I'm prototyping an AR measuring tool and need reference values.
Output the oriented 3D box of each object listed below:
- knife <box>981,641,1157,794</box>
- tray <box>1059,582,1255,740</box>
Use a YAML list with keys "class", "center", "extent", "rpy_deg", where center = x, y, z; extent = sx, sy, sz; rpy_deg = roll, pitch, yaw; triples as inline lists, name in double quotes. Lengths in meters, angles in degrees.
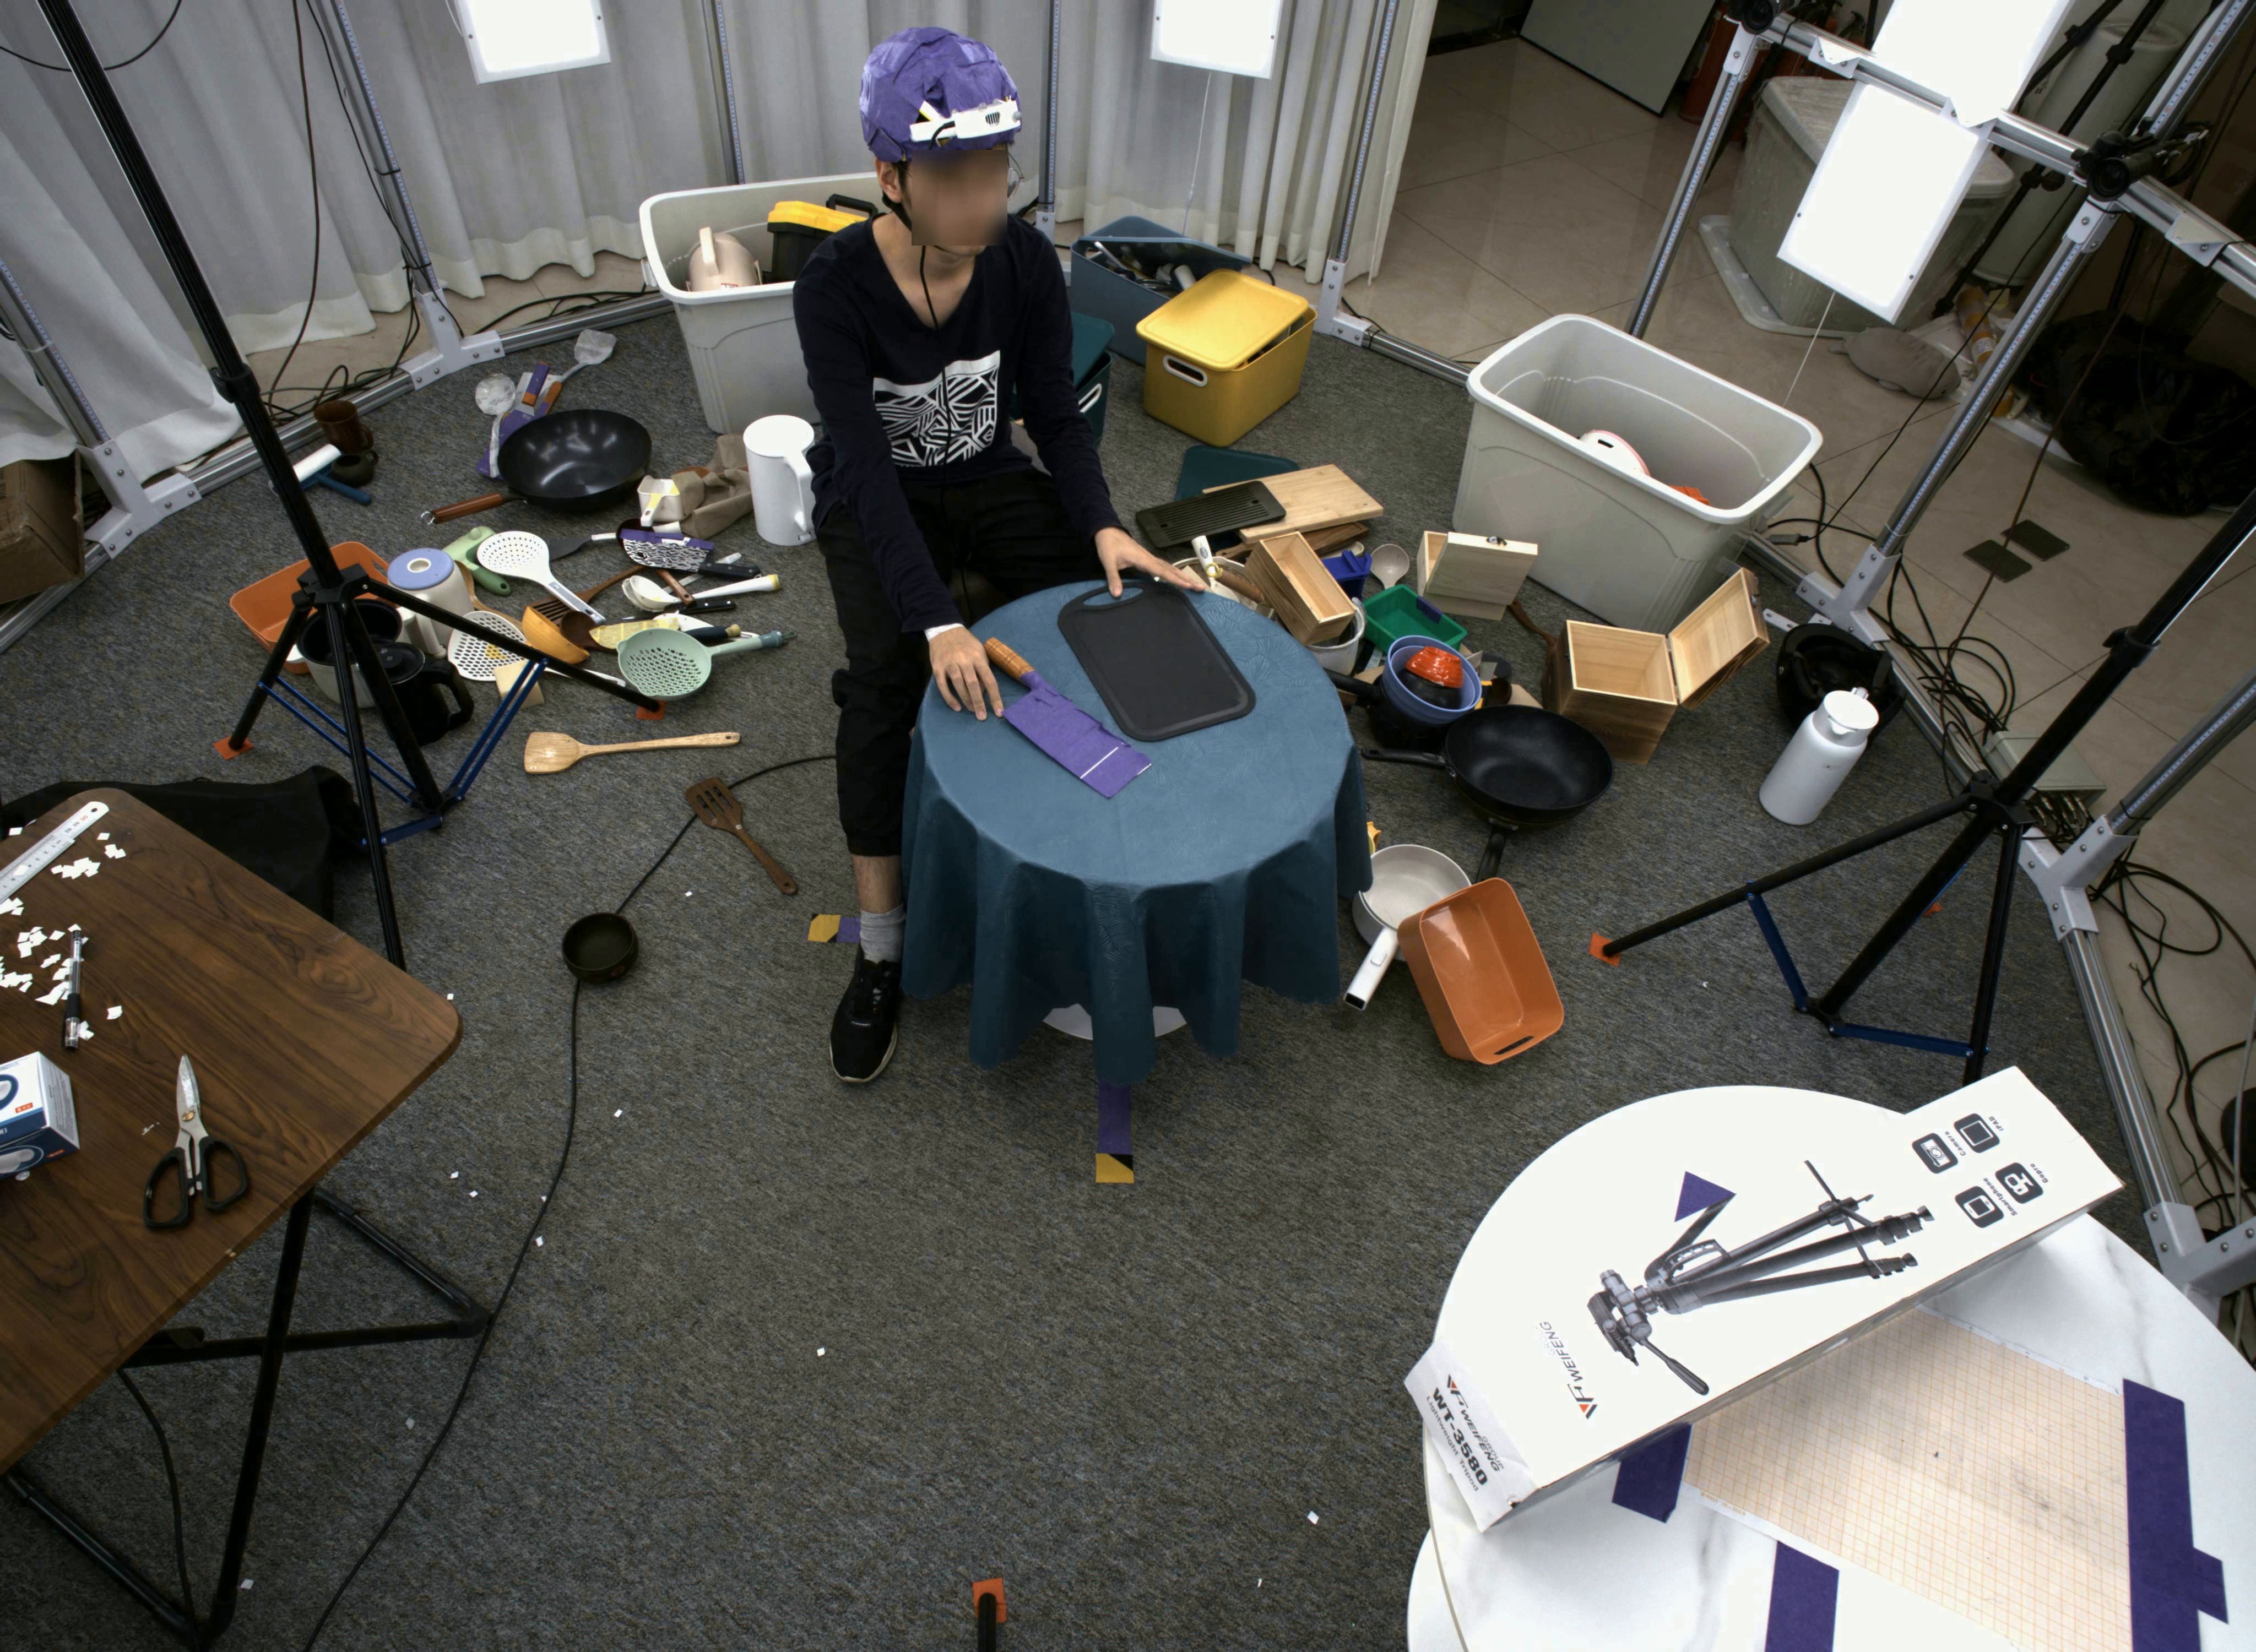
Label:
- class: "knife"
  center: [-0.107, -0.154, 1.776]
  extent: [0.319, 0.031, 0.105]
  rpy_deg: [37, 56, 24]
- class: "tray"
  center: [0.035, -0.254, 1.885]
  extent: [0.211, 0.009, 0.333]
  rpy_deg: [-16, 52, -18]
